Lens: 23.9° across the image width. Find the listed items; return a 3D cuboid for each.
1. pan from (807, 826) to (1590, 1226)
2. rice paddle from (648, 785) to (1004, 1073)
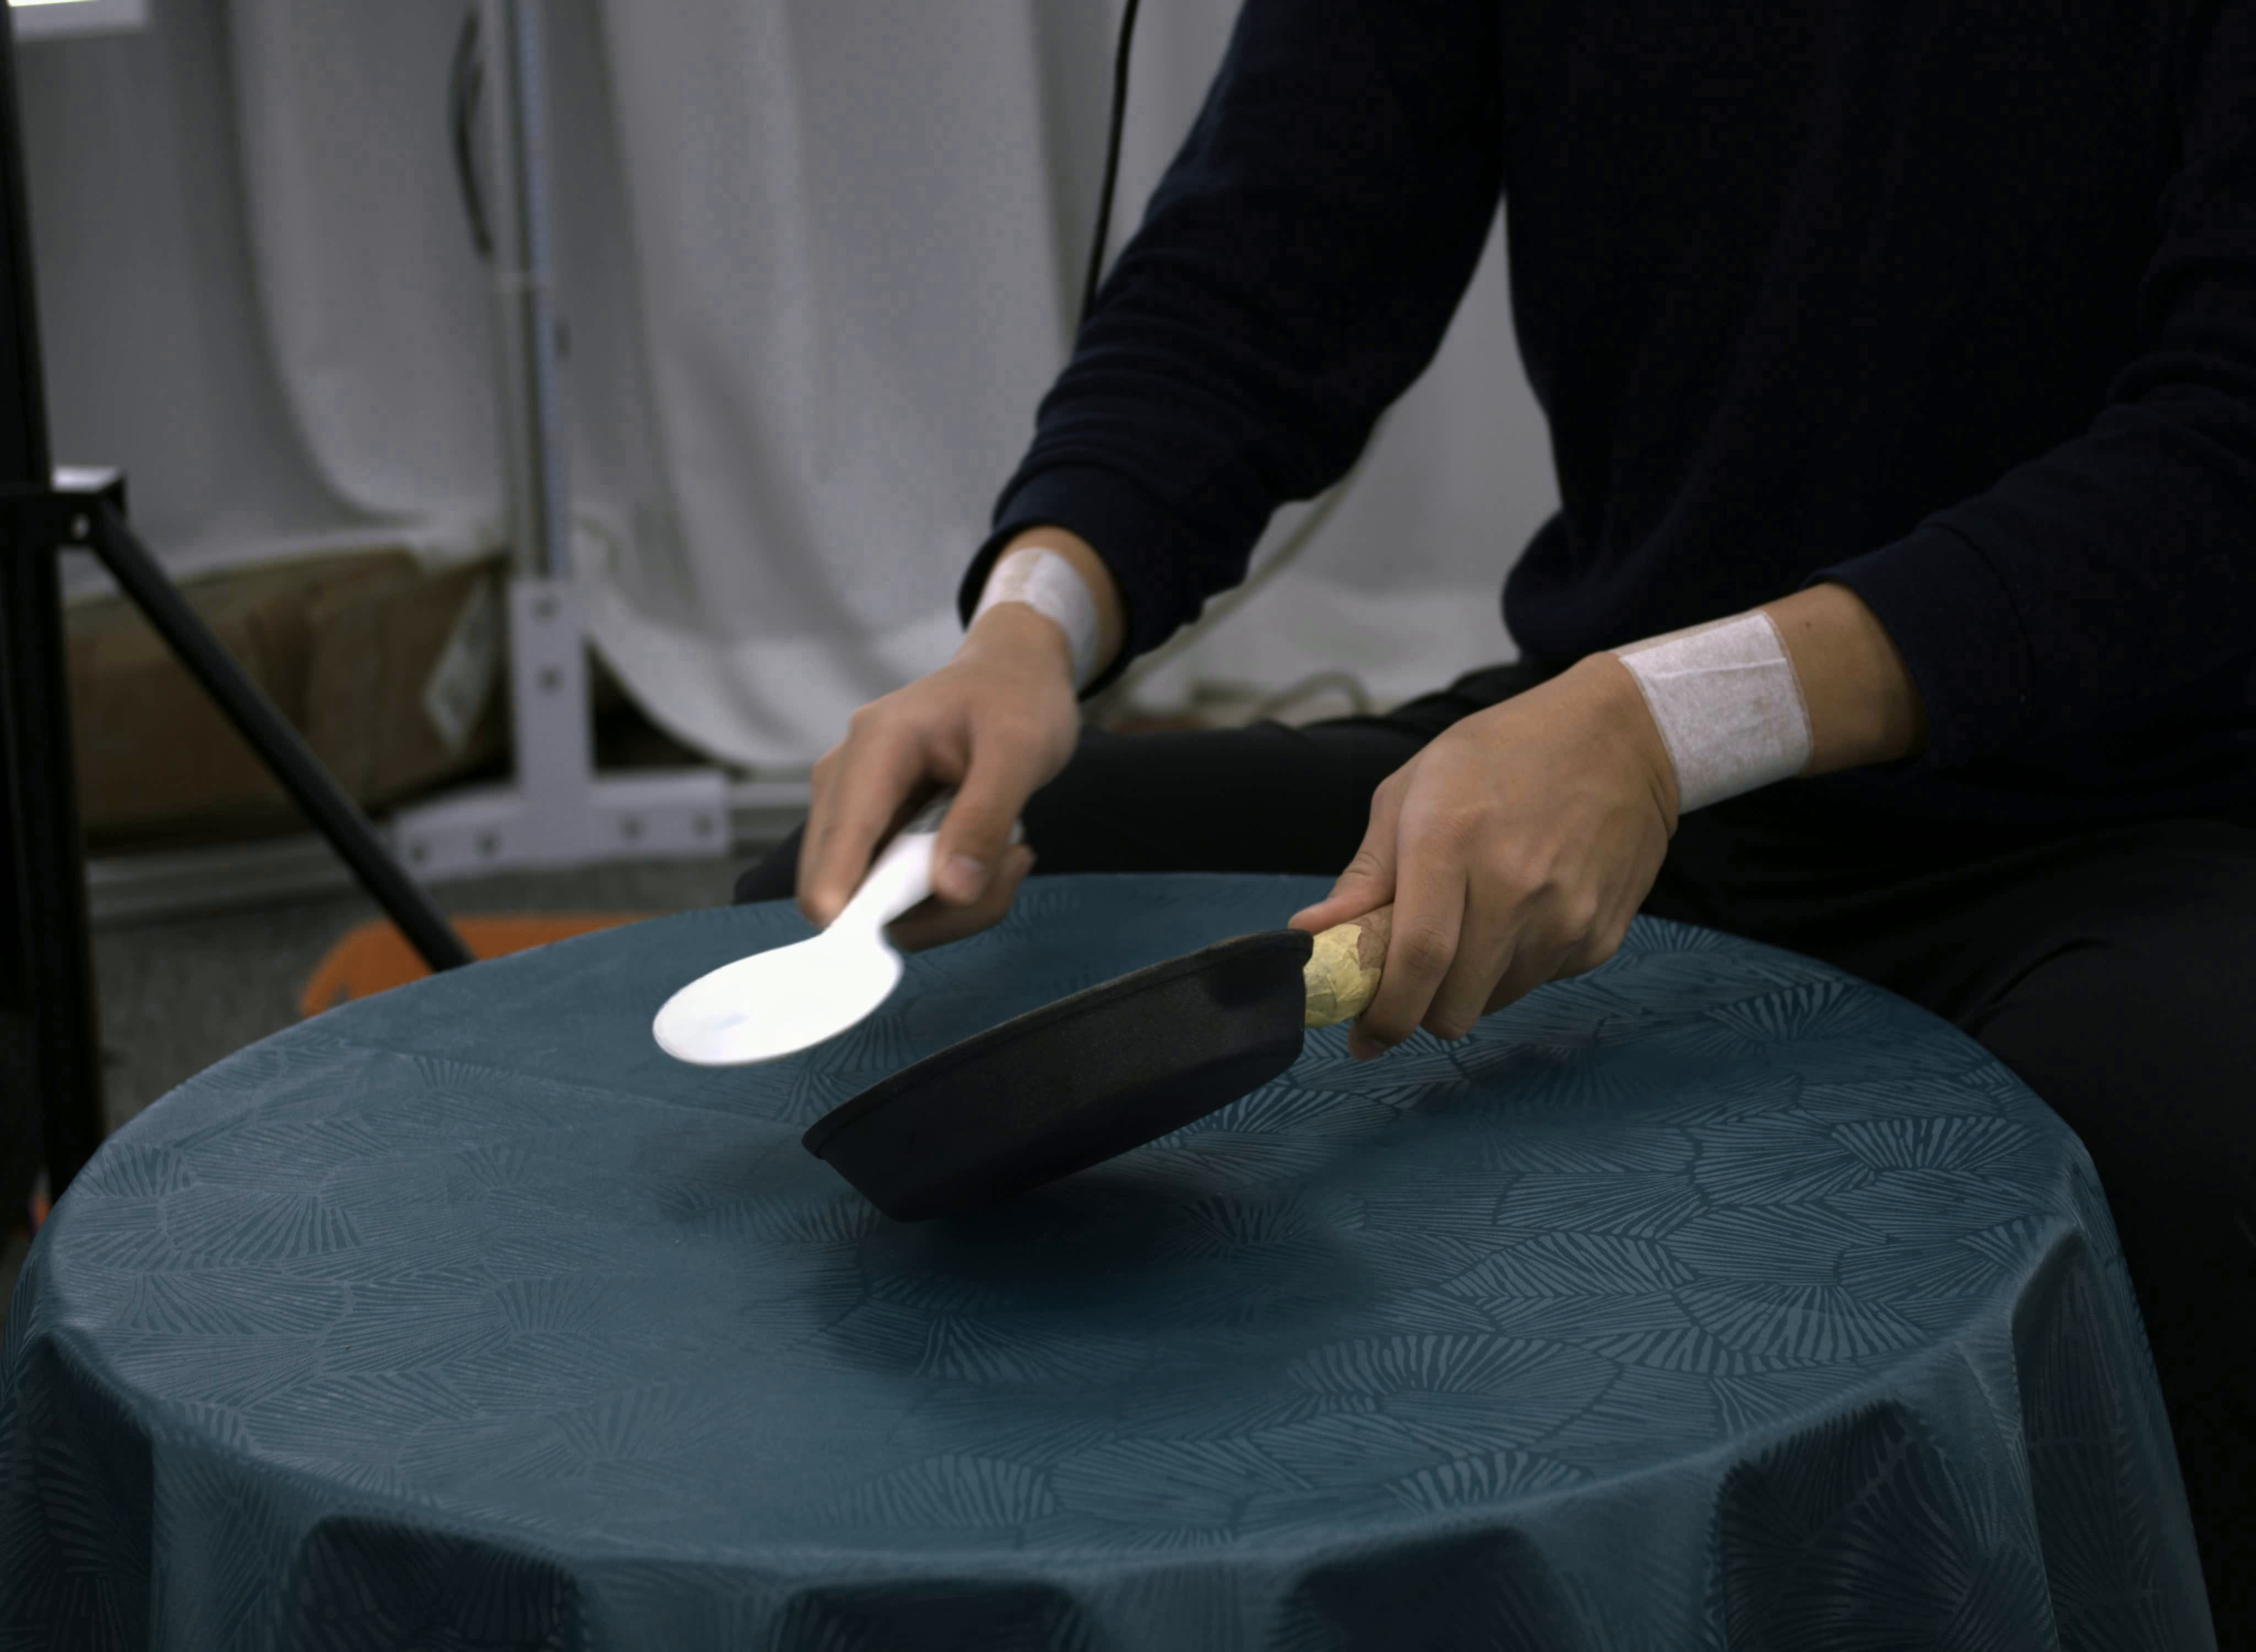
[{"bbox_3d":[0.042,0.053,1.568,0.316,0.050,0.171,-15,-11,-43],"label":"pan"},{"bbox_3d":[-0.088,0.034,1.642,0.069,0.029,0.203,-2,19,22],"label":"rice paddle"}]
